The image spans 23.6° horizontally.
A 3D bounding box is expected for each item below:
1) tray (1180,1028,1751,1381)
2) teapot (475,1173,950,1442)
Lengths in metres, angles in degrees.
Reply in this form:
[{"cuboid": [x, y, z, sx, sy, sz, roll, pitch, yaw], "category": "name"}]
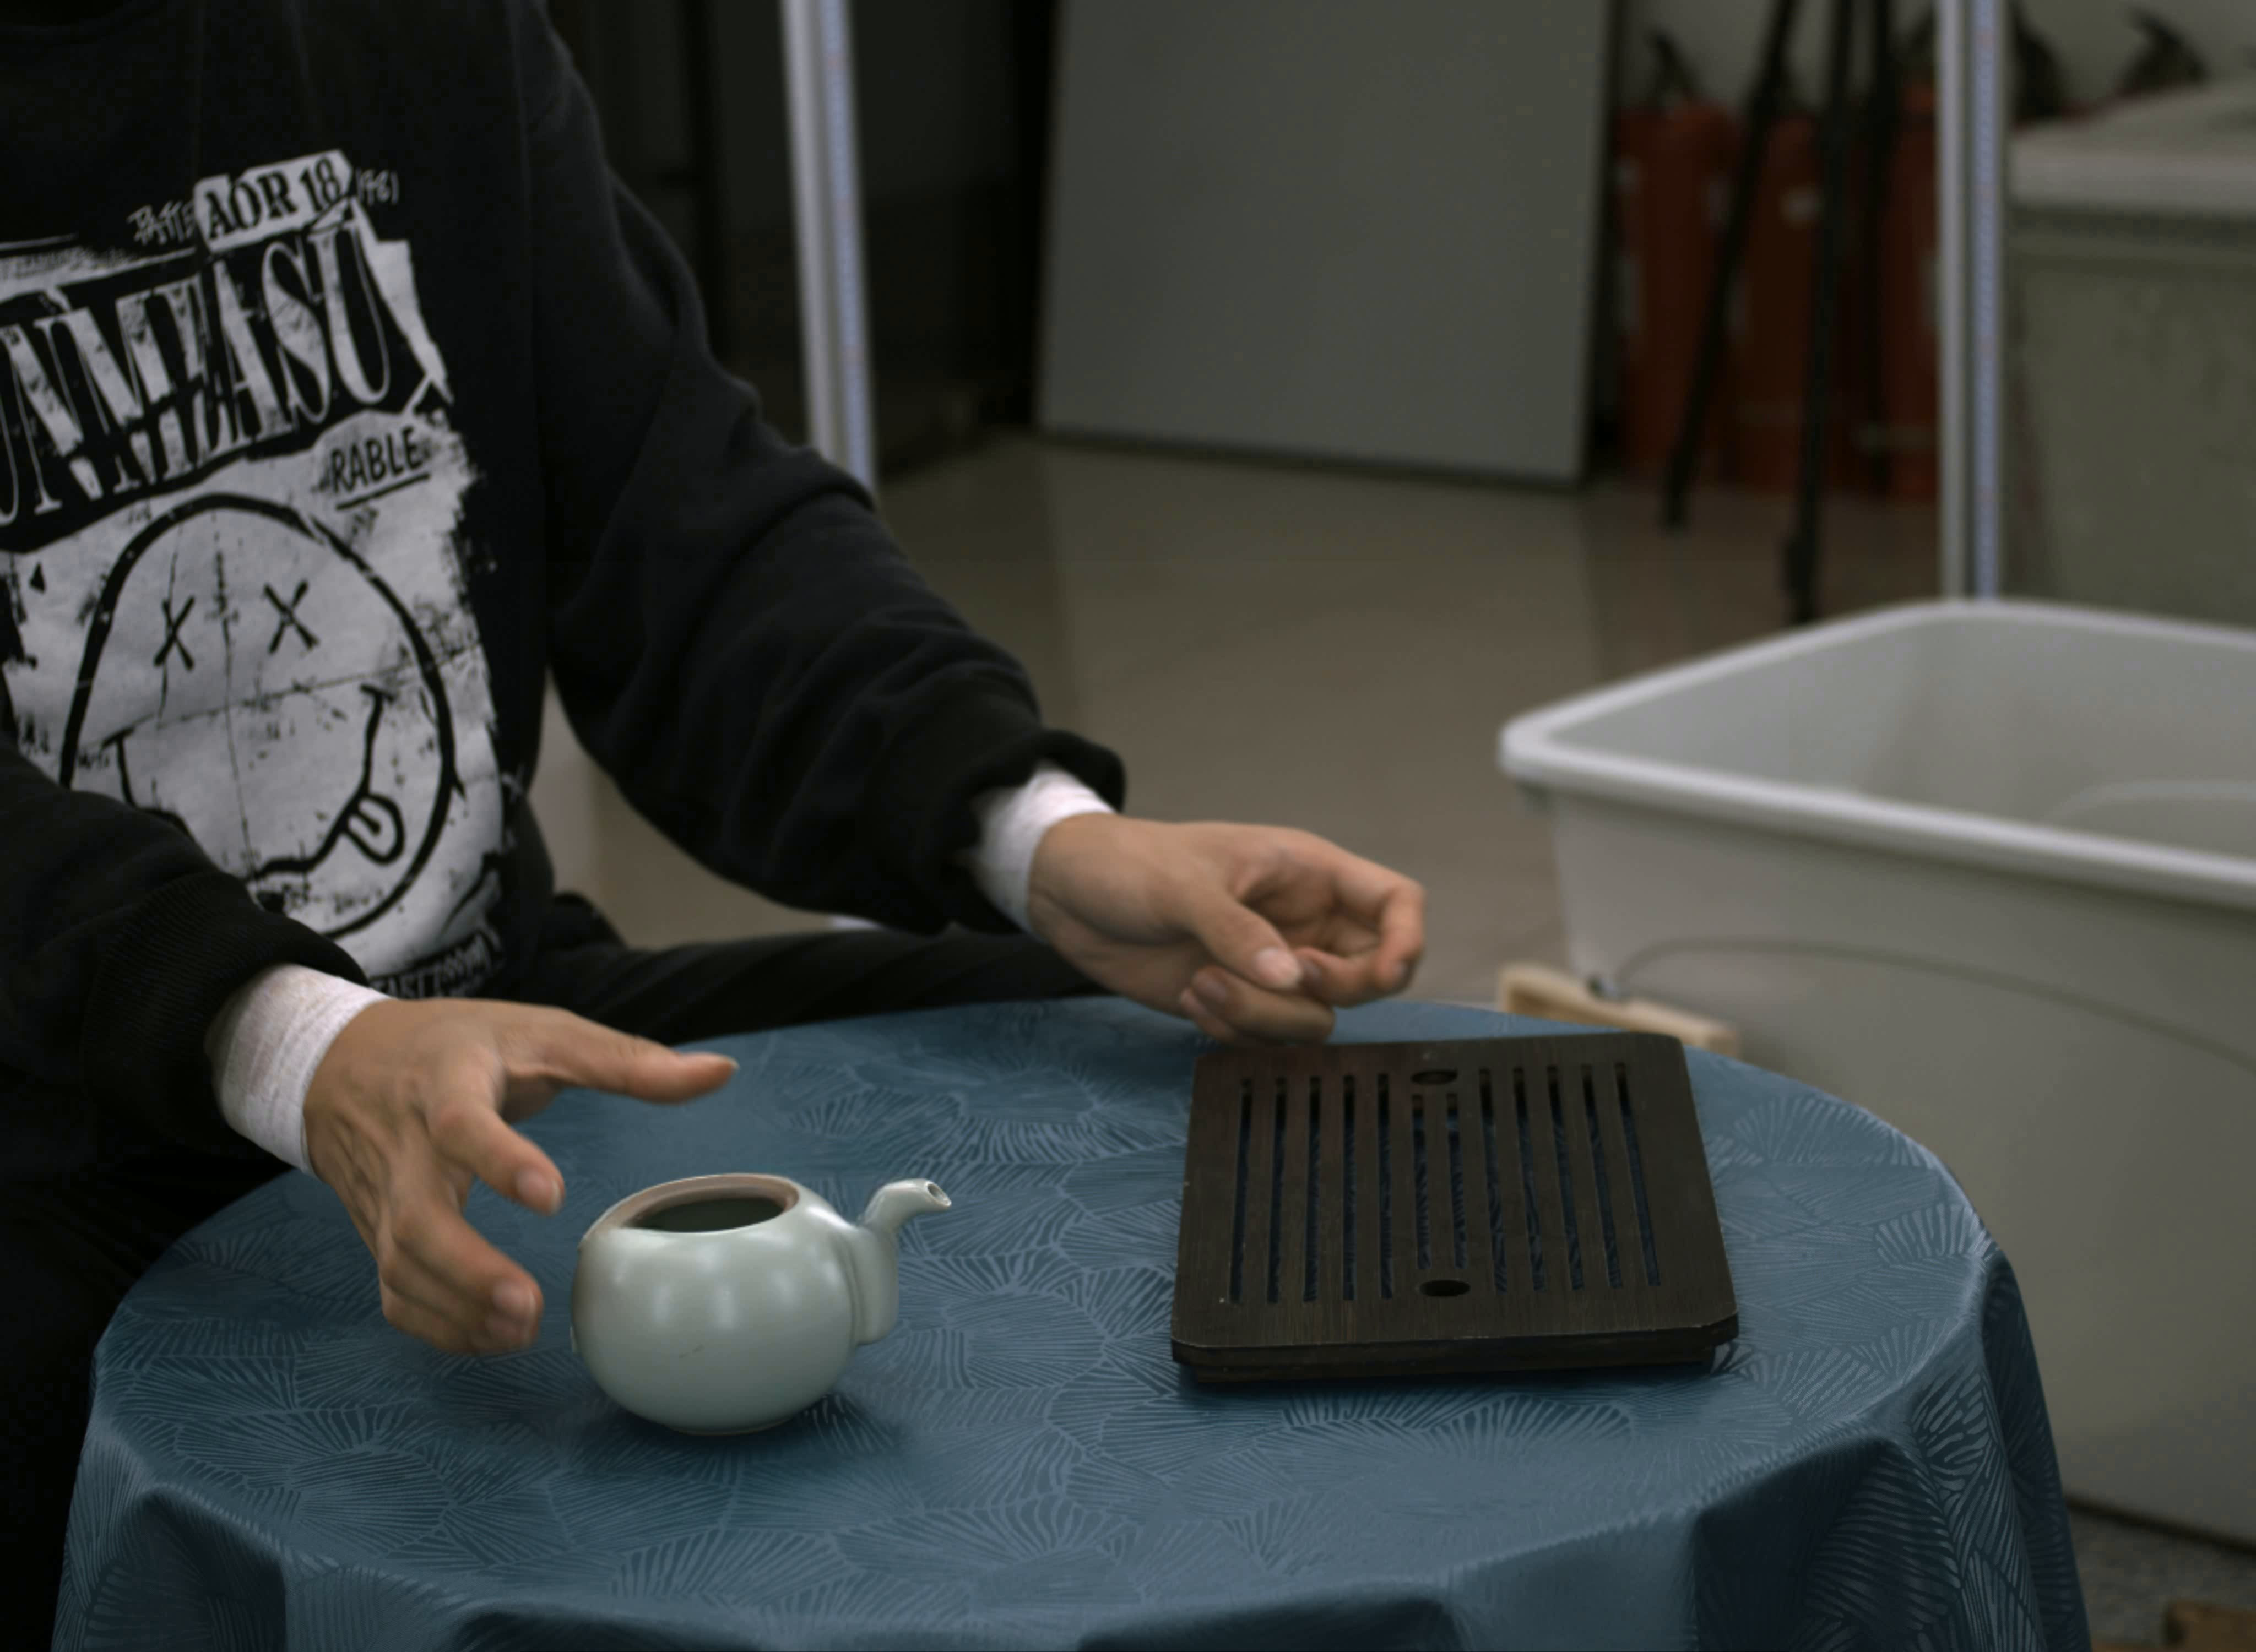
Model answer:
[{"cuboid": [0.106, 0.118, 1.716, 0.168, 0.019, 0.306, -4, 14, 4], "category": "tray"}, {"cuboid": [-0.120, 0.139, 1.588, 0.143, 0.075, 0.088, 0, 14, 11], "category": "teapot"}]
